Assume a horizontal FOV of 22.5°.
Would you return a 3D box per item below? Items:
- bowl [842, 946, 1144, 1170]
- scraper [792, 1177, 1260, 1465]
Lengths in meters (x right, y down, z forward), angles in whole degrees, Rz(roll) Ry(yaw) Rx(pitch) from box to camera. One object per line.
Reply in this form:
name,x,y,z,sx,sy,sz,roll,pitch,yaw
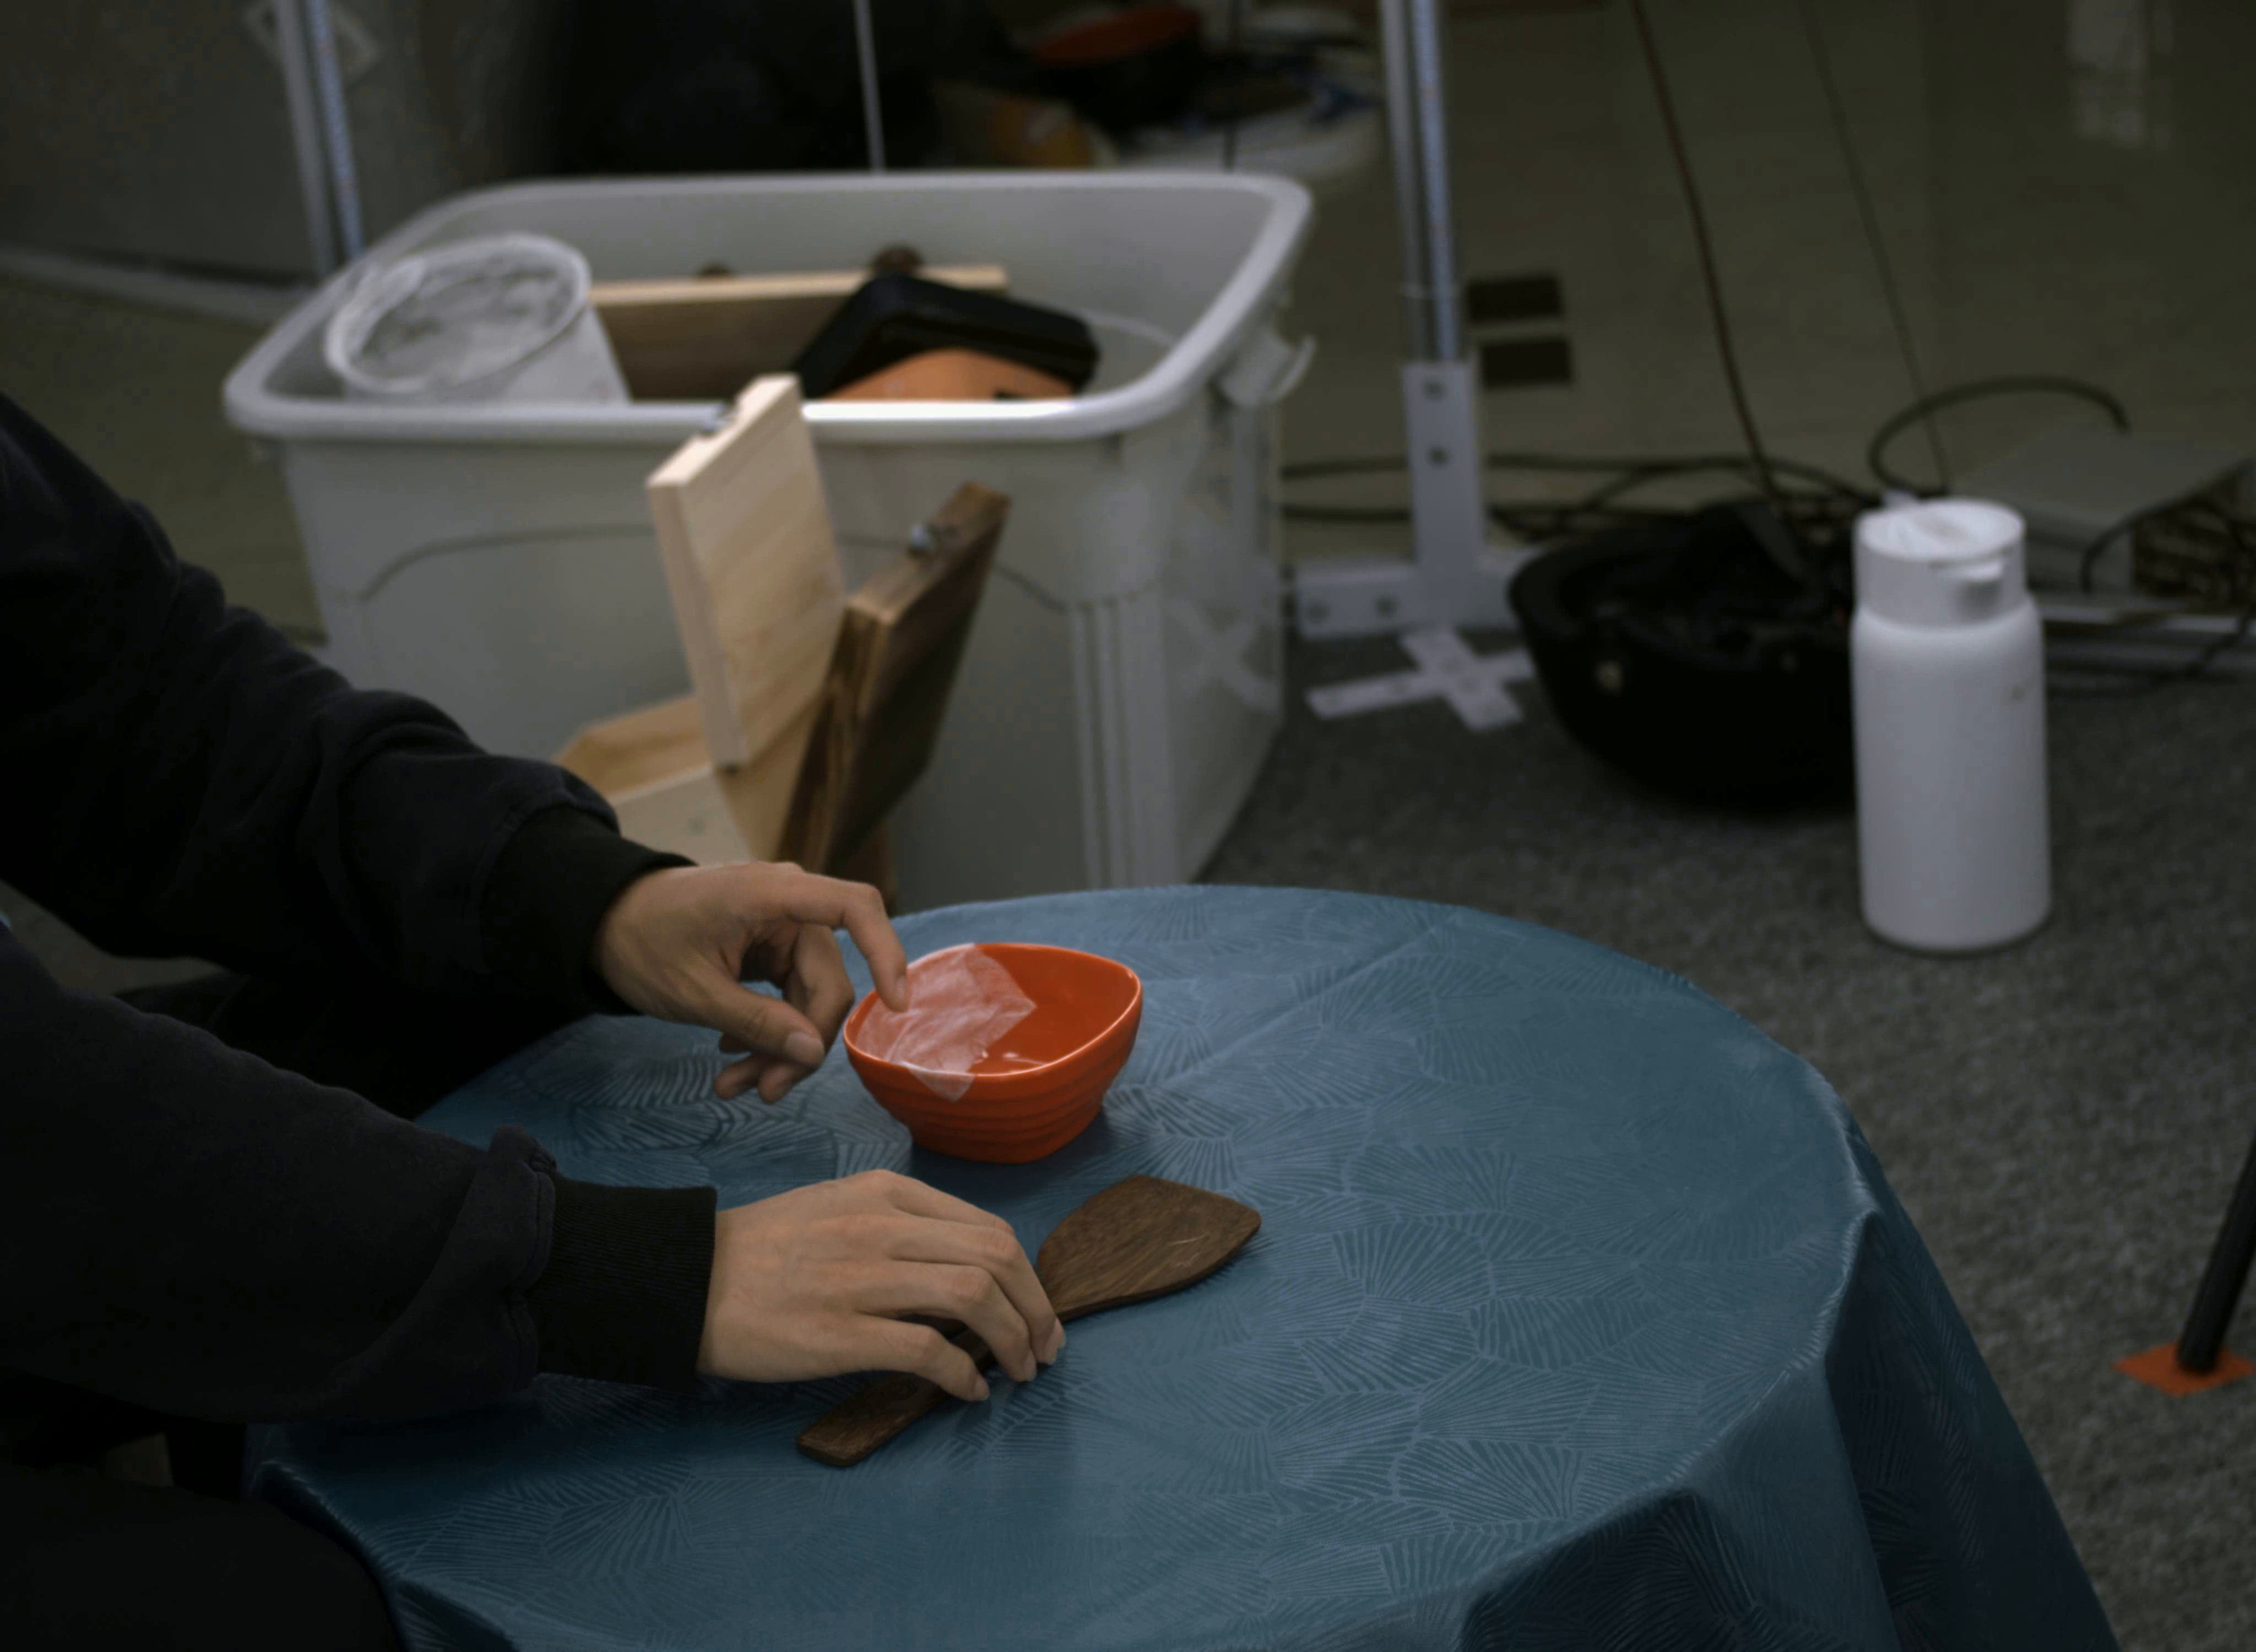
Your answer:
bowl,-0.050,0.095,2.203,0.119,0.052,0.117,-5,26,2
scraper,-0.042,0.181,2.063,0.075,0.011,0.209,15,33,40
